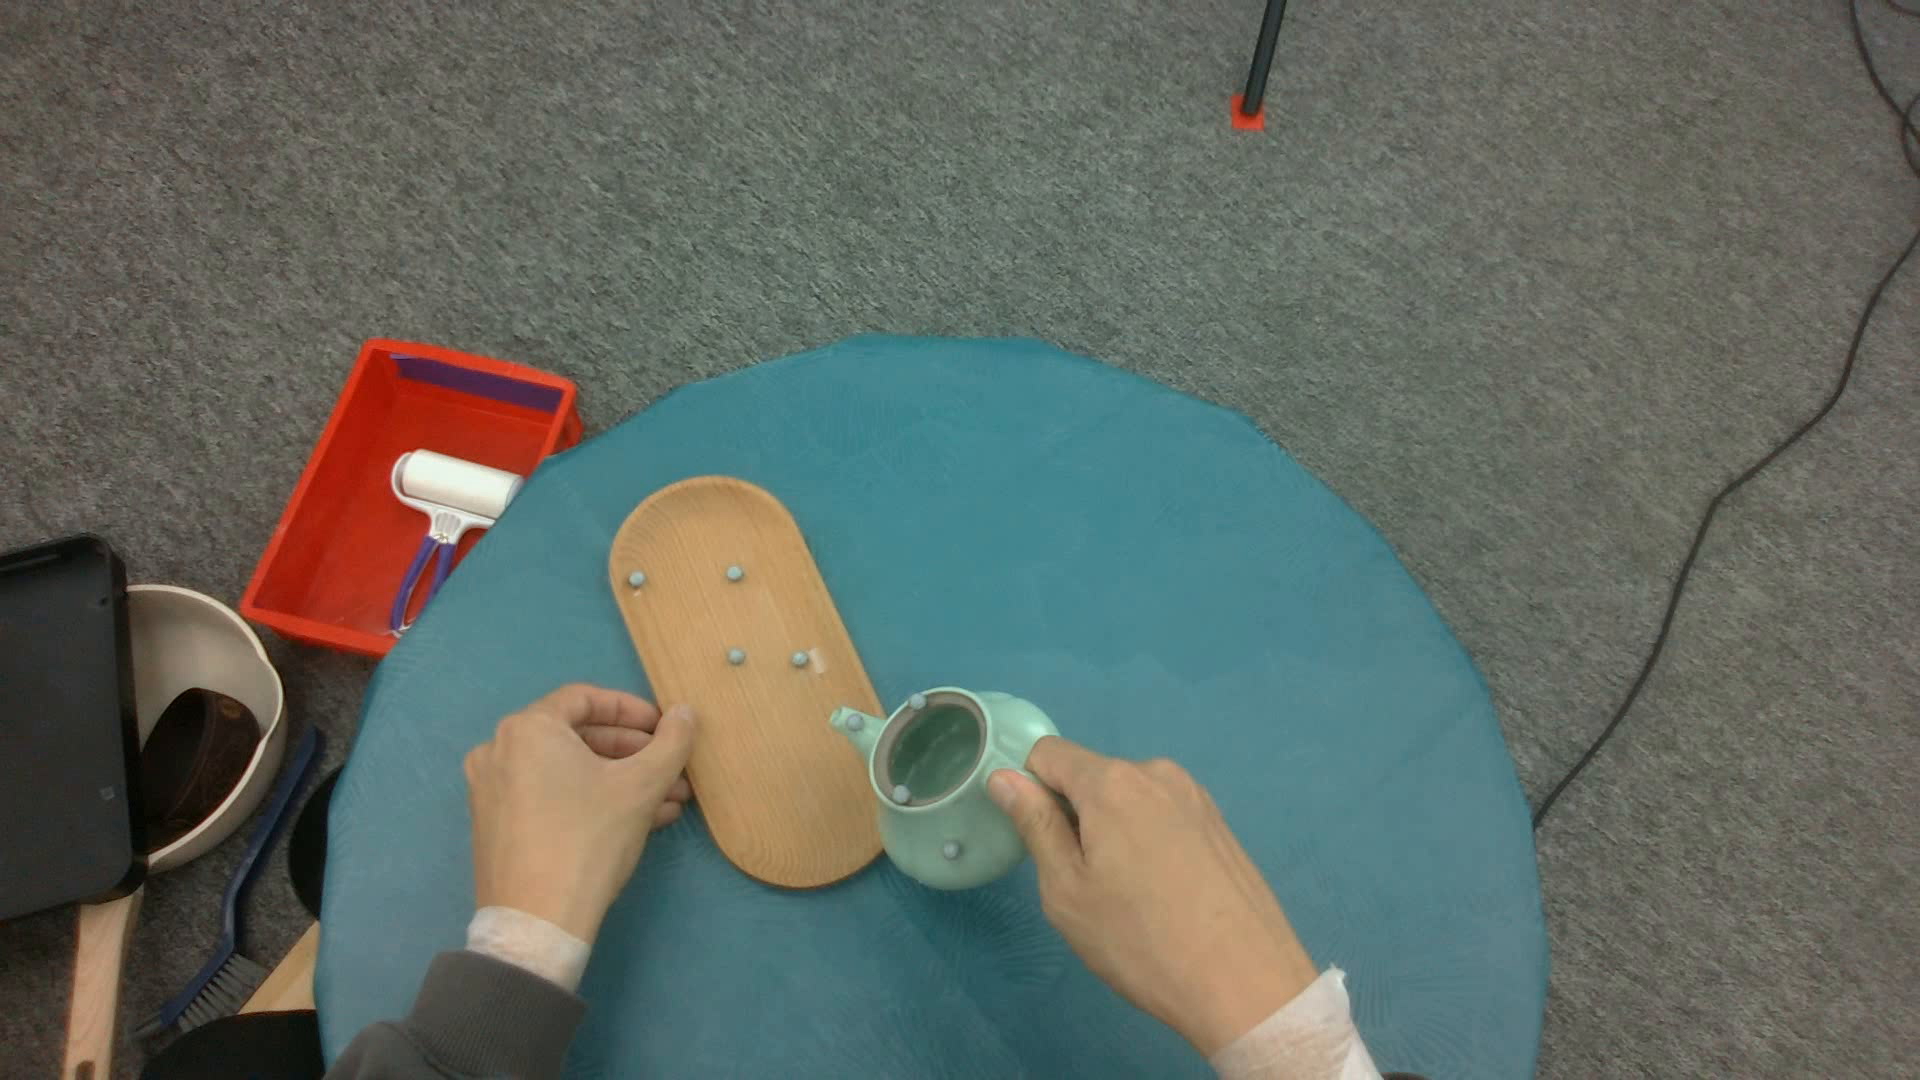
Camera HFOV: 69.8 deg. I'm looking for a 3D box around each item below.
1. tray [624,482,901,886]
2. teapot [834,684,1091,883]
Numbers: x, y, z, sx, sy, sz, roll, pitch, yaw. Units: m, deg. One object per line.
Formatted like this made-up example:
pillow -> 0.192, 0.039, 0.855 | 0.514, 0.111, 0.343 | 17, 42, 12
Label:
tray -> -0.100, 0.070, 0.718 | 0.102, 0.020, 0.231 | -23, 70, -14
teapot -> 0.006, 0.107, 0.632 | 0.136, 0.061, 0.096 | 8, 59, 41
